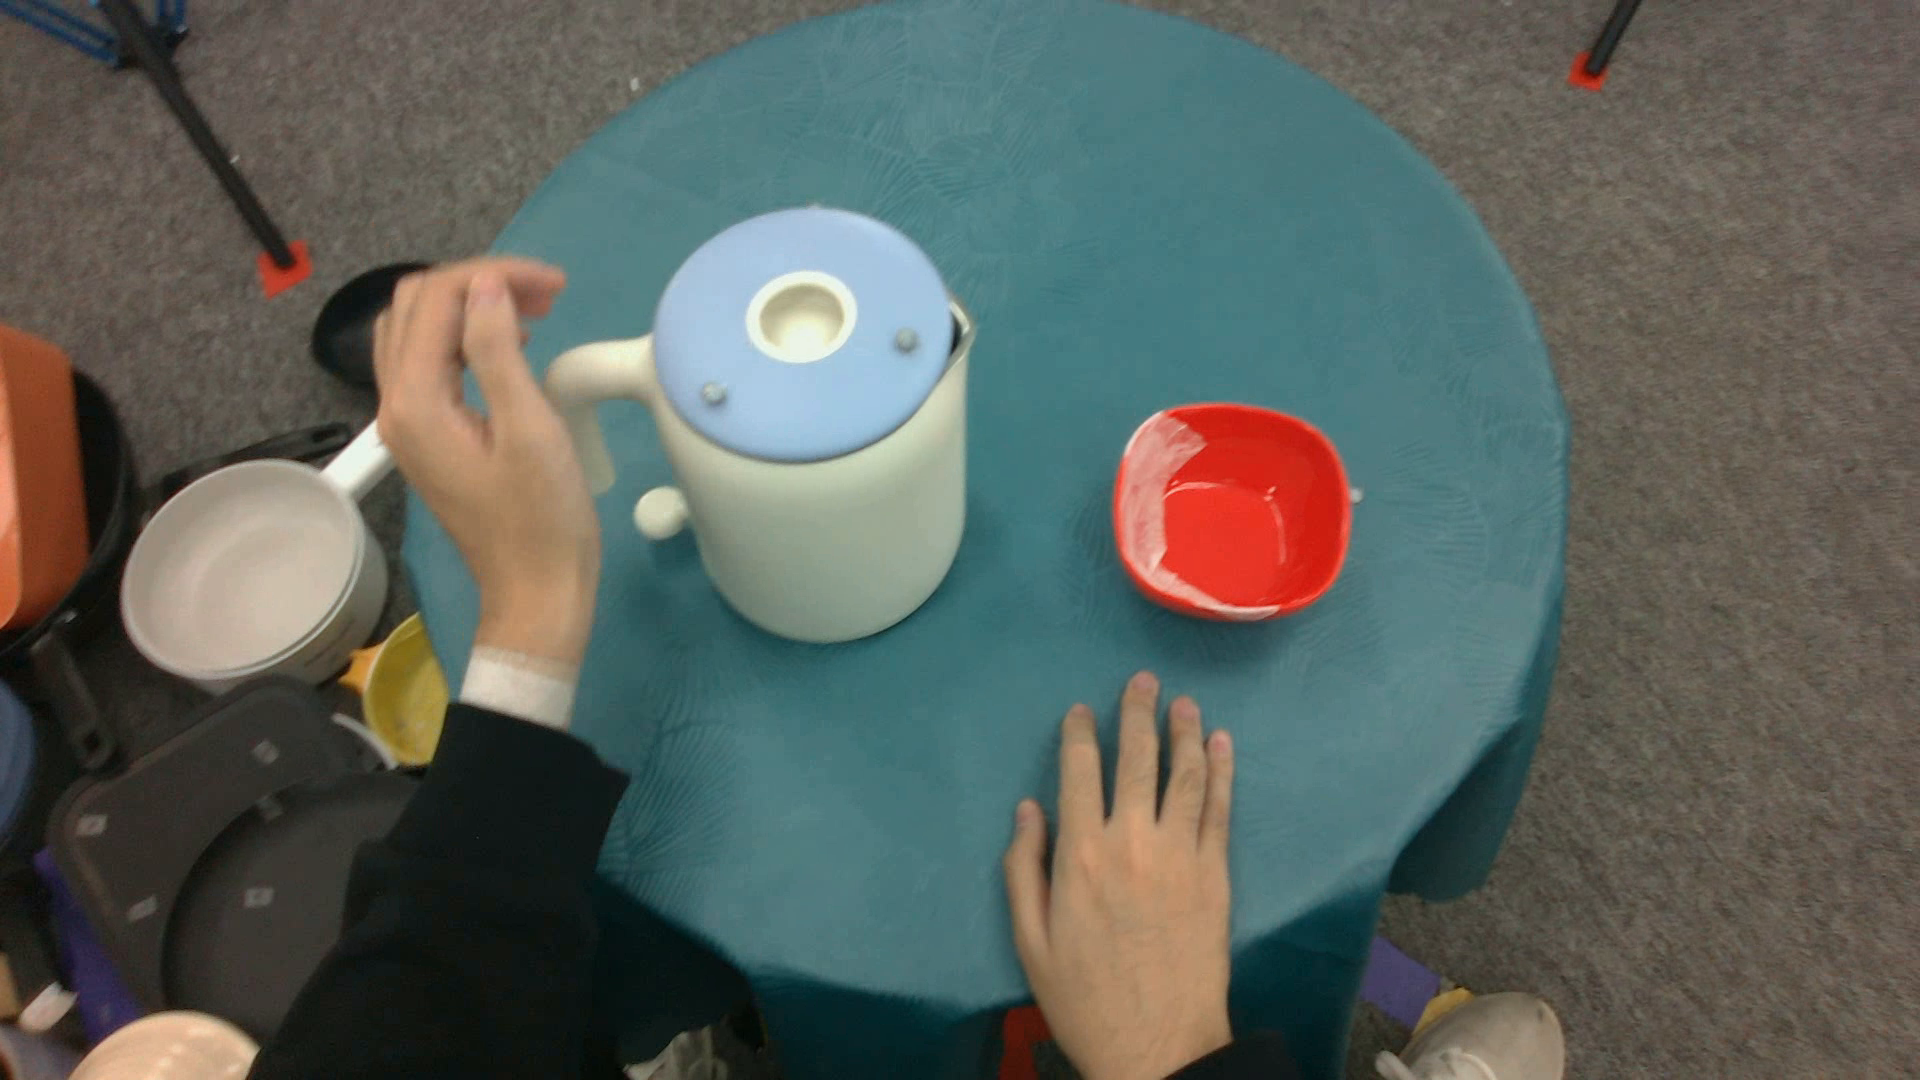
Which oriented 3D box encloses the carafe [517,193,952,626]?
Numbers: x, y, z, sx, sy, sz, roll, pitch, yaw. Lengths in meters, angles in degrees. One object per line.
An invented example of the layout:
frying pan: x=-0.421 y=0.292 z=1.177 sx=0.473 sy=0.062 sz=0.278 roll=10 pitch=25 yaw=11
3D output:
carafe: x=-0.096 y=-0.050 z=0.614 sx=0.191 sy=0.182 sz=0.132 roll=-5 pitch=62 yaw=-1

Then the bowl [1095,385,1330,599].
bowl: x=0.117 y=-0.015 z=0.664 sx=0.119 sy=0.051 sz=0.119 roll=1 pitch=61 yaw=-2
